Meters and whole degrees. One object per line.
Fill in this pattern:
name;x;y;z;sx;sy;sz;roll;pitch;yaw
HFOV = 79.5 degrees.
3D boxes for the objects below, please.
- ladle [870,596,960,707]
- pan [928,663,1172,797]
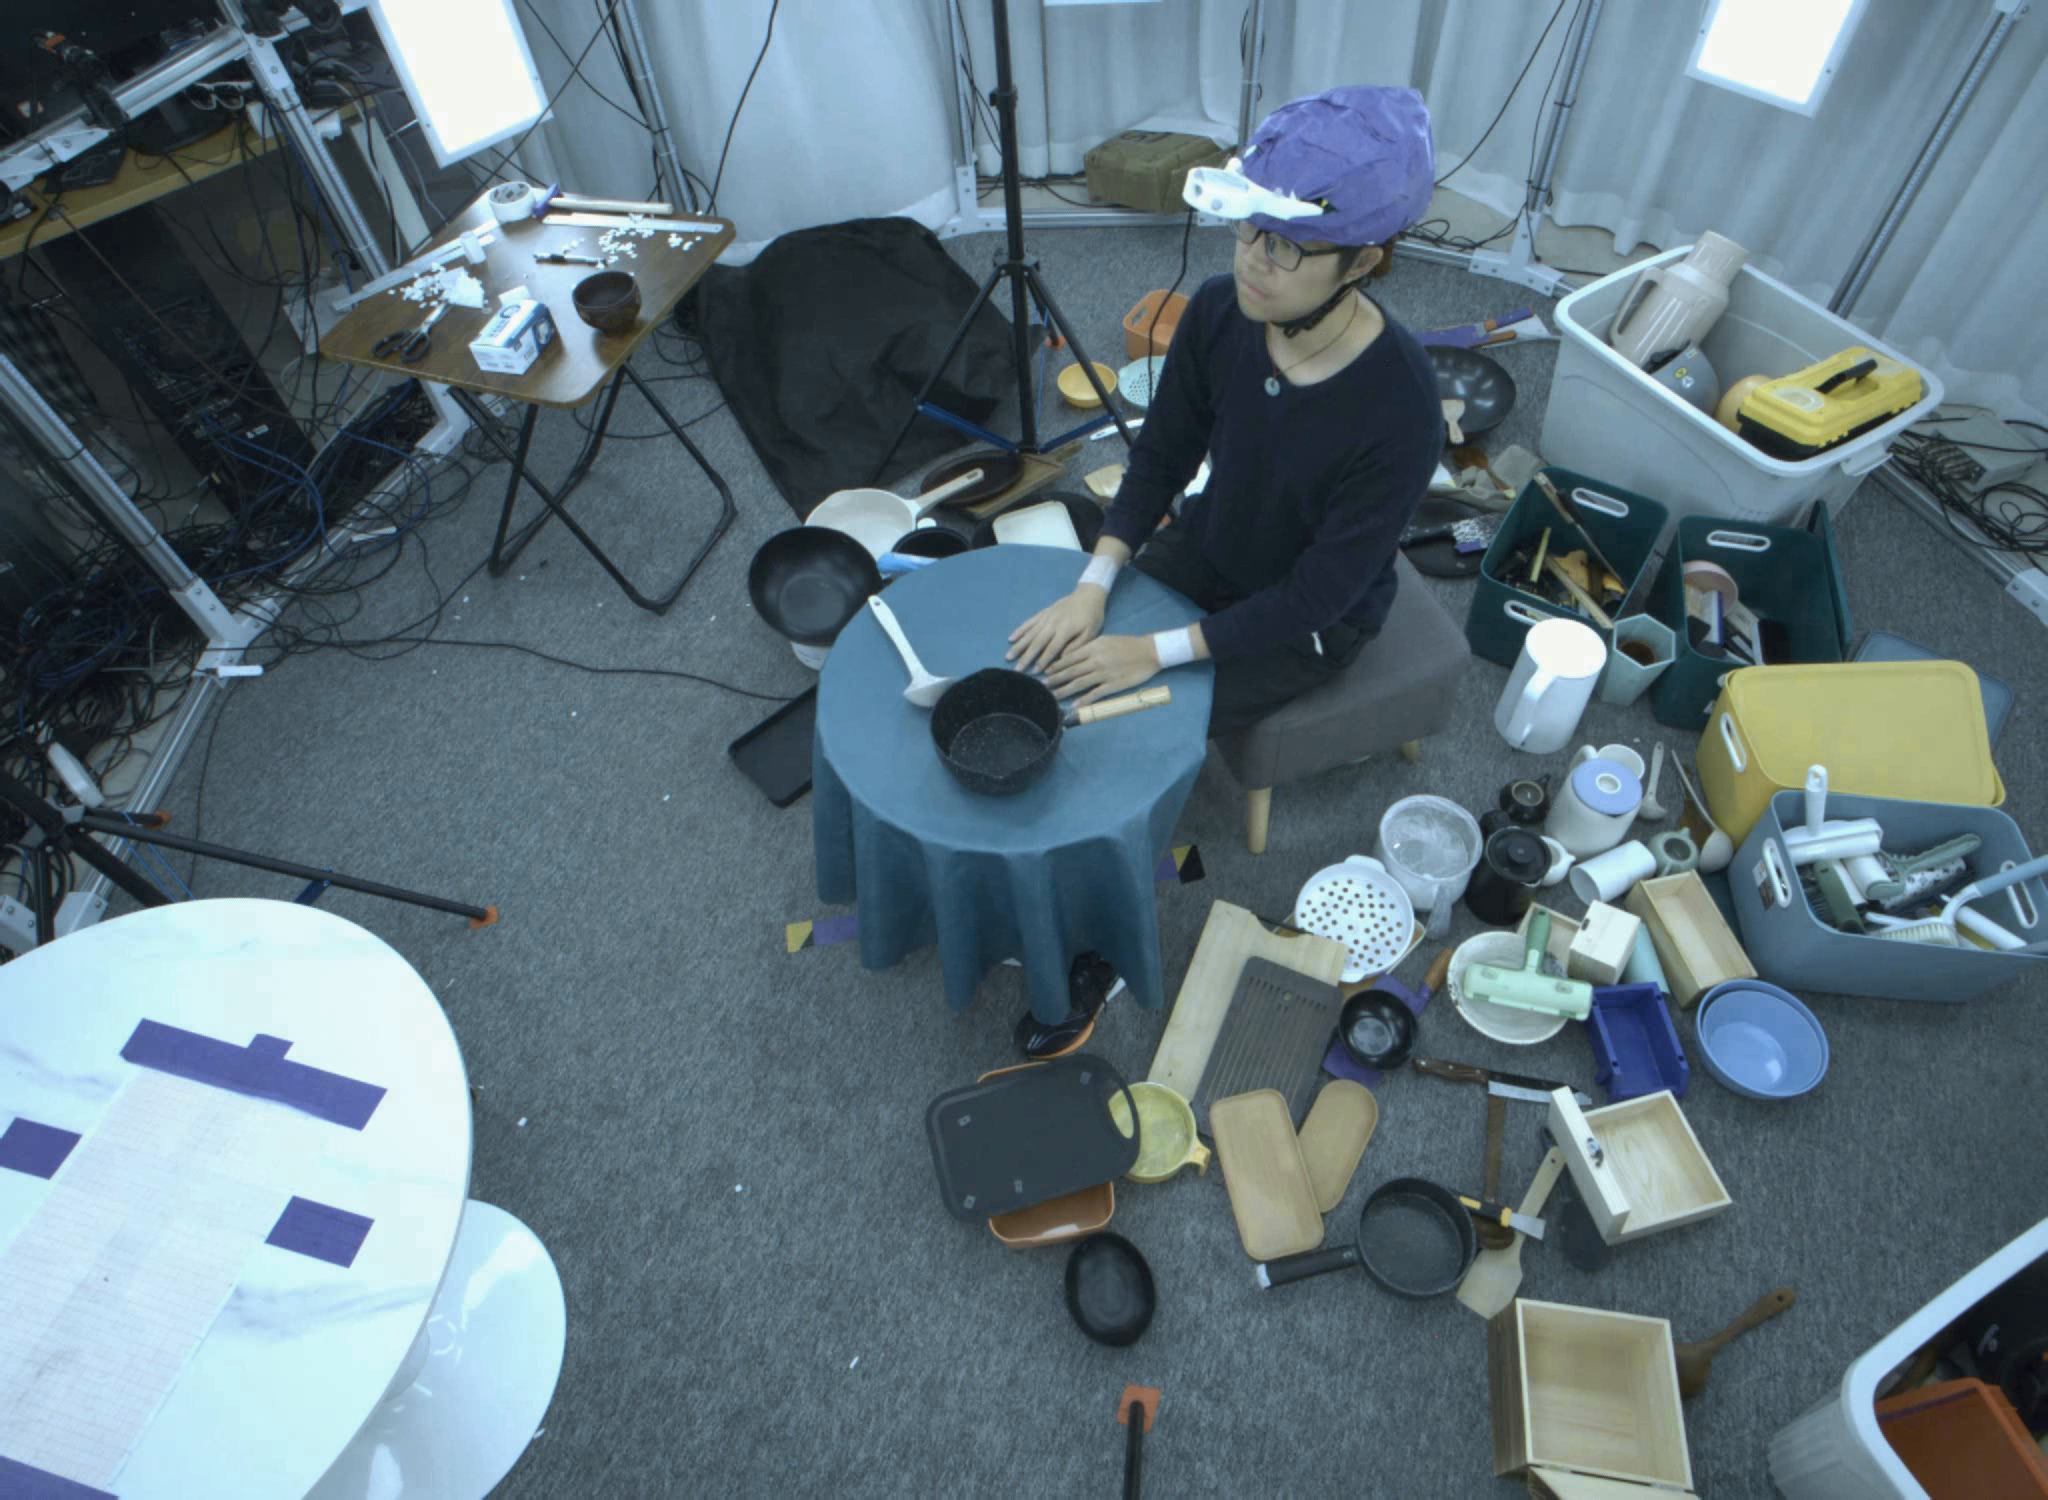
ladle;-0.183;-0.171;1.874;0.090;0.070;0.270;-20;55;-17
pan;0.040;-0.035;1.744;0.343;0.109;0.204;-8;53;-2
